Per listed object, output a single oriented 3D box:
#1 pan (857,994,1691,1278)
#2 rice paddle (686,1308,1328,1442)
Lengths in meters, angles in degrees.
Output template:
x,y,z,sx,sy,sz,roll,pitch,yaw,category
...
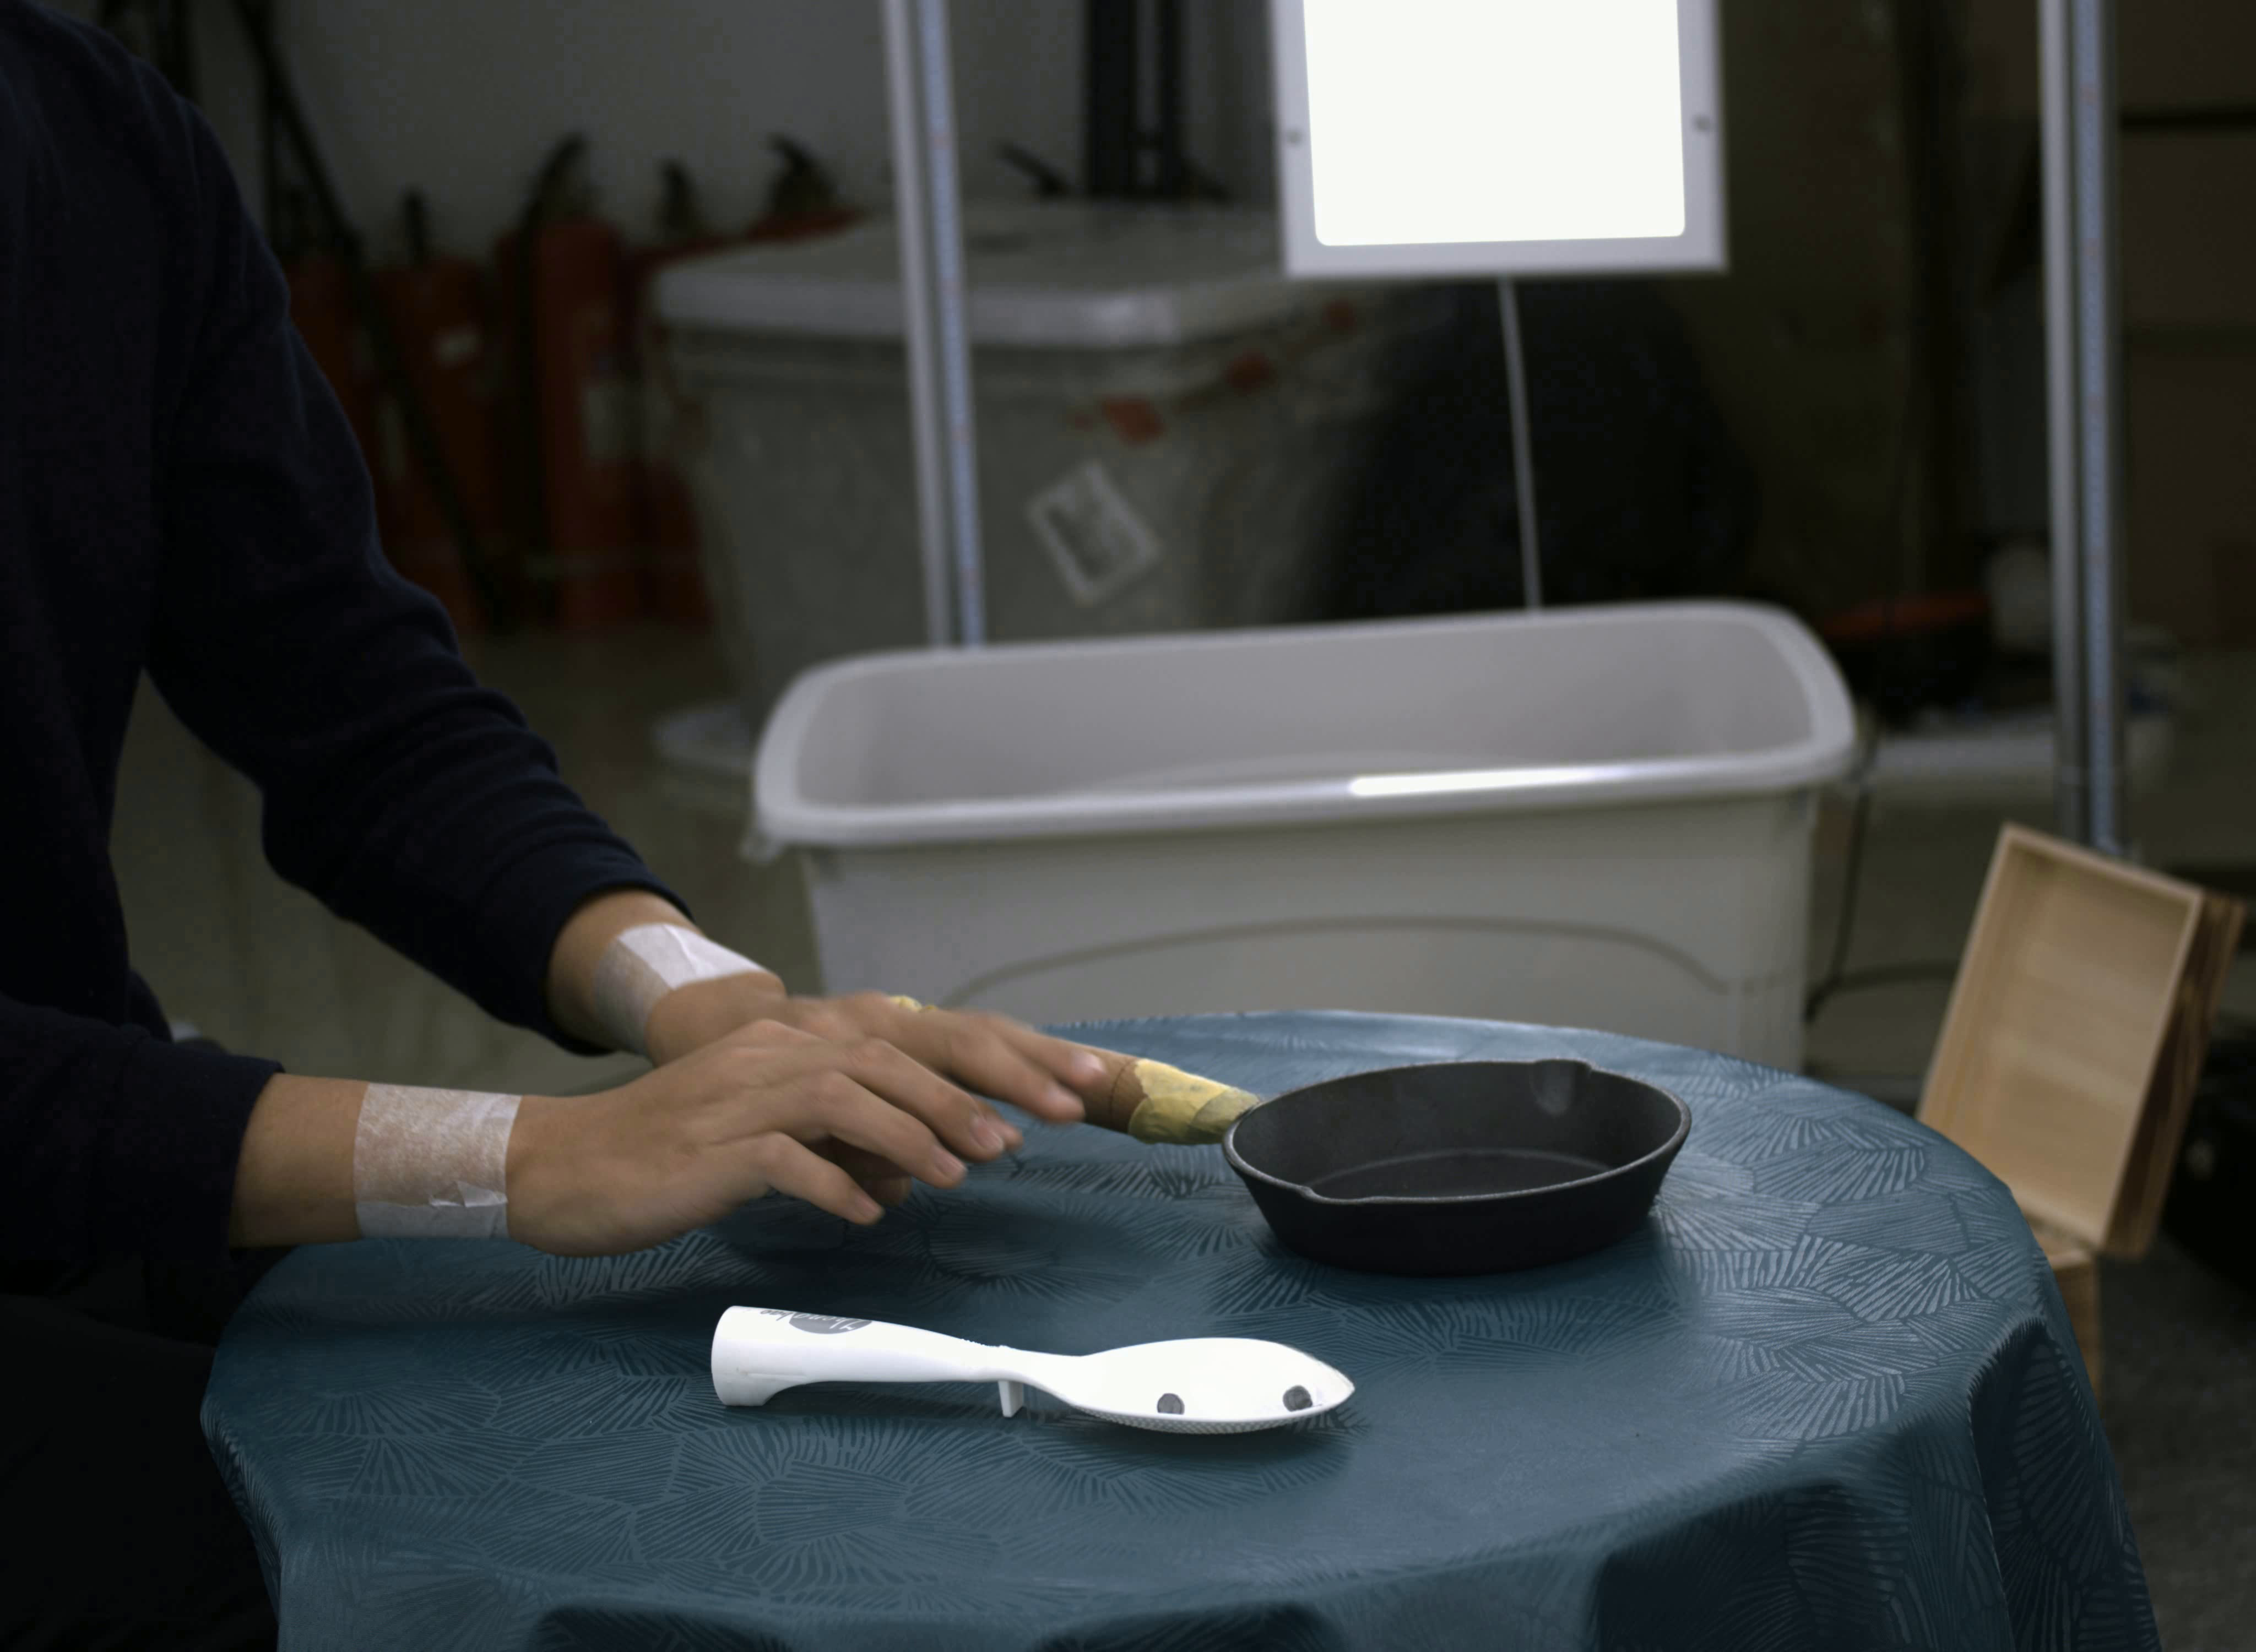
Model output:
x,y,z,sx,sy,sz,roll,pitch,yaw,category
0.041,0.100,1.884,0.331,0.050,0.165,7,18,36,pan
-0.037,0.168,1.693,0.208,0.029,0.067,2,17,21,rice paddle
